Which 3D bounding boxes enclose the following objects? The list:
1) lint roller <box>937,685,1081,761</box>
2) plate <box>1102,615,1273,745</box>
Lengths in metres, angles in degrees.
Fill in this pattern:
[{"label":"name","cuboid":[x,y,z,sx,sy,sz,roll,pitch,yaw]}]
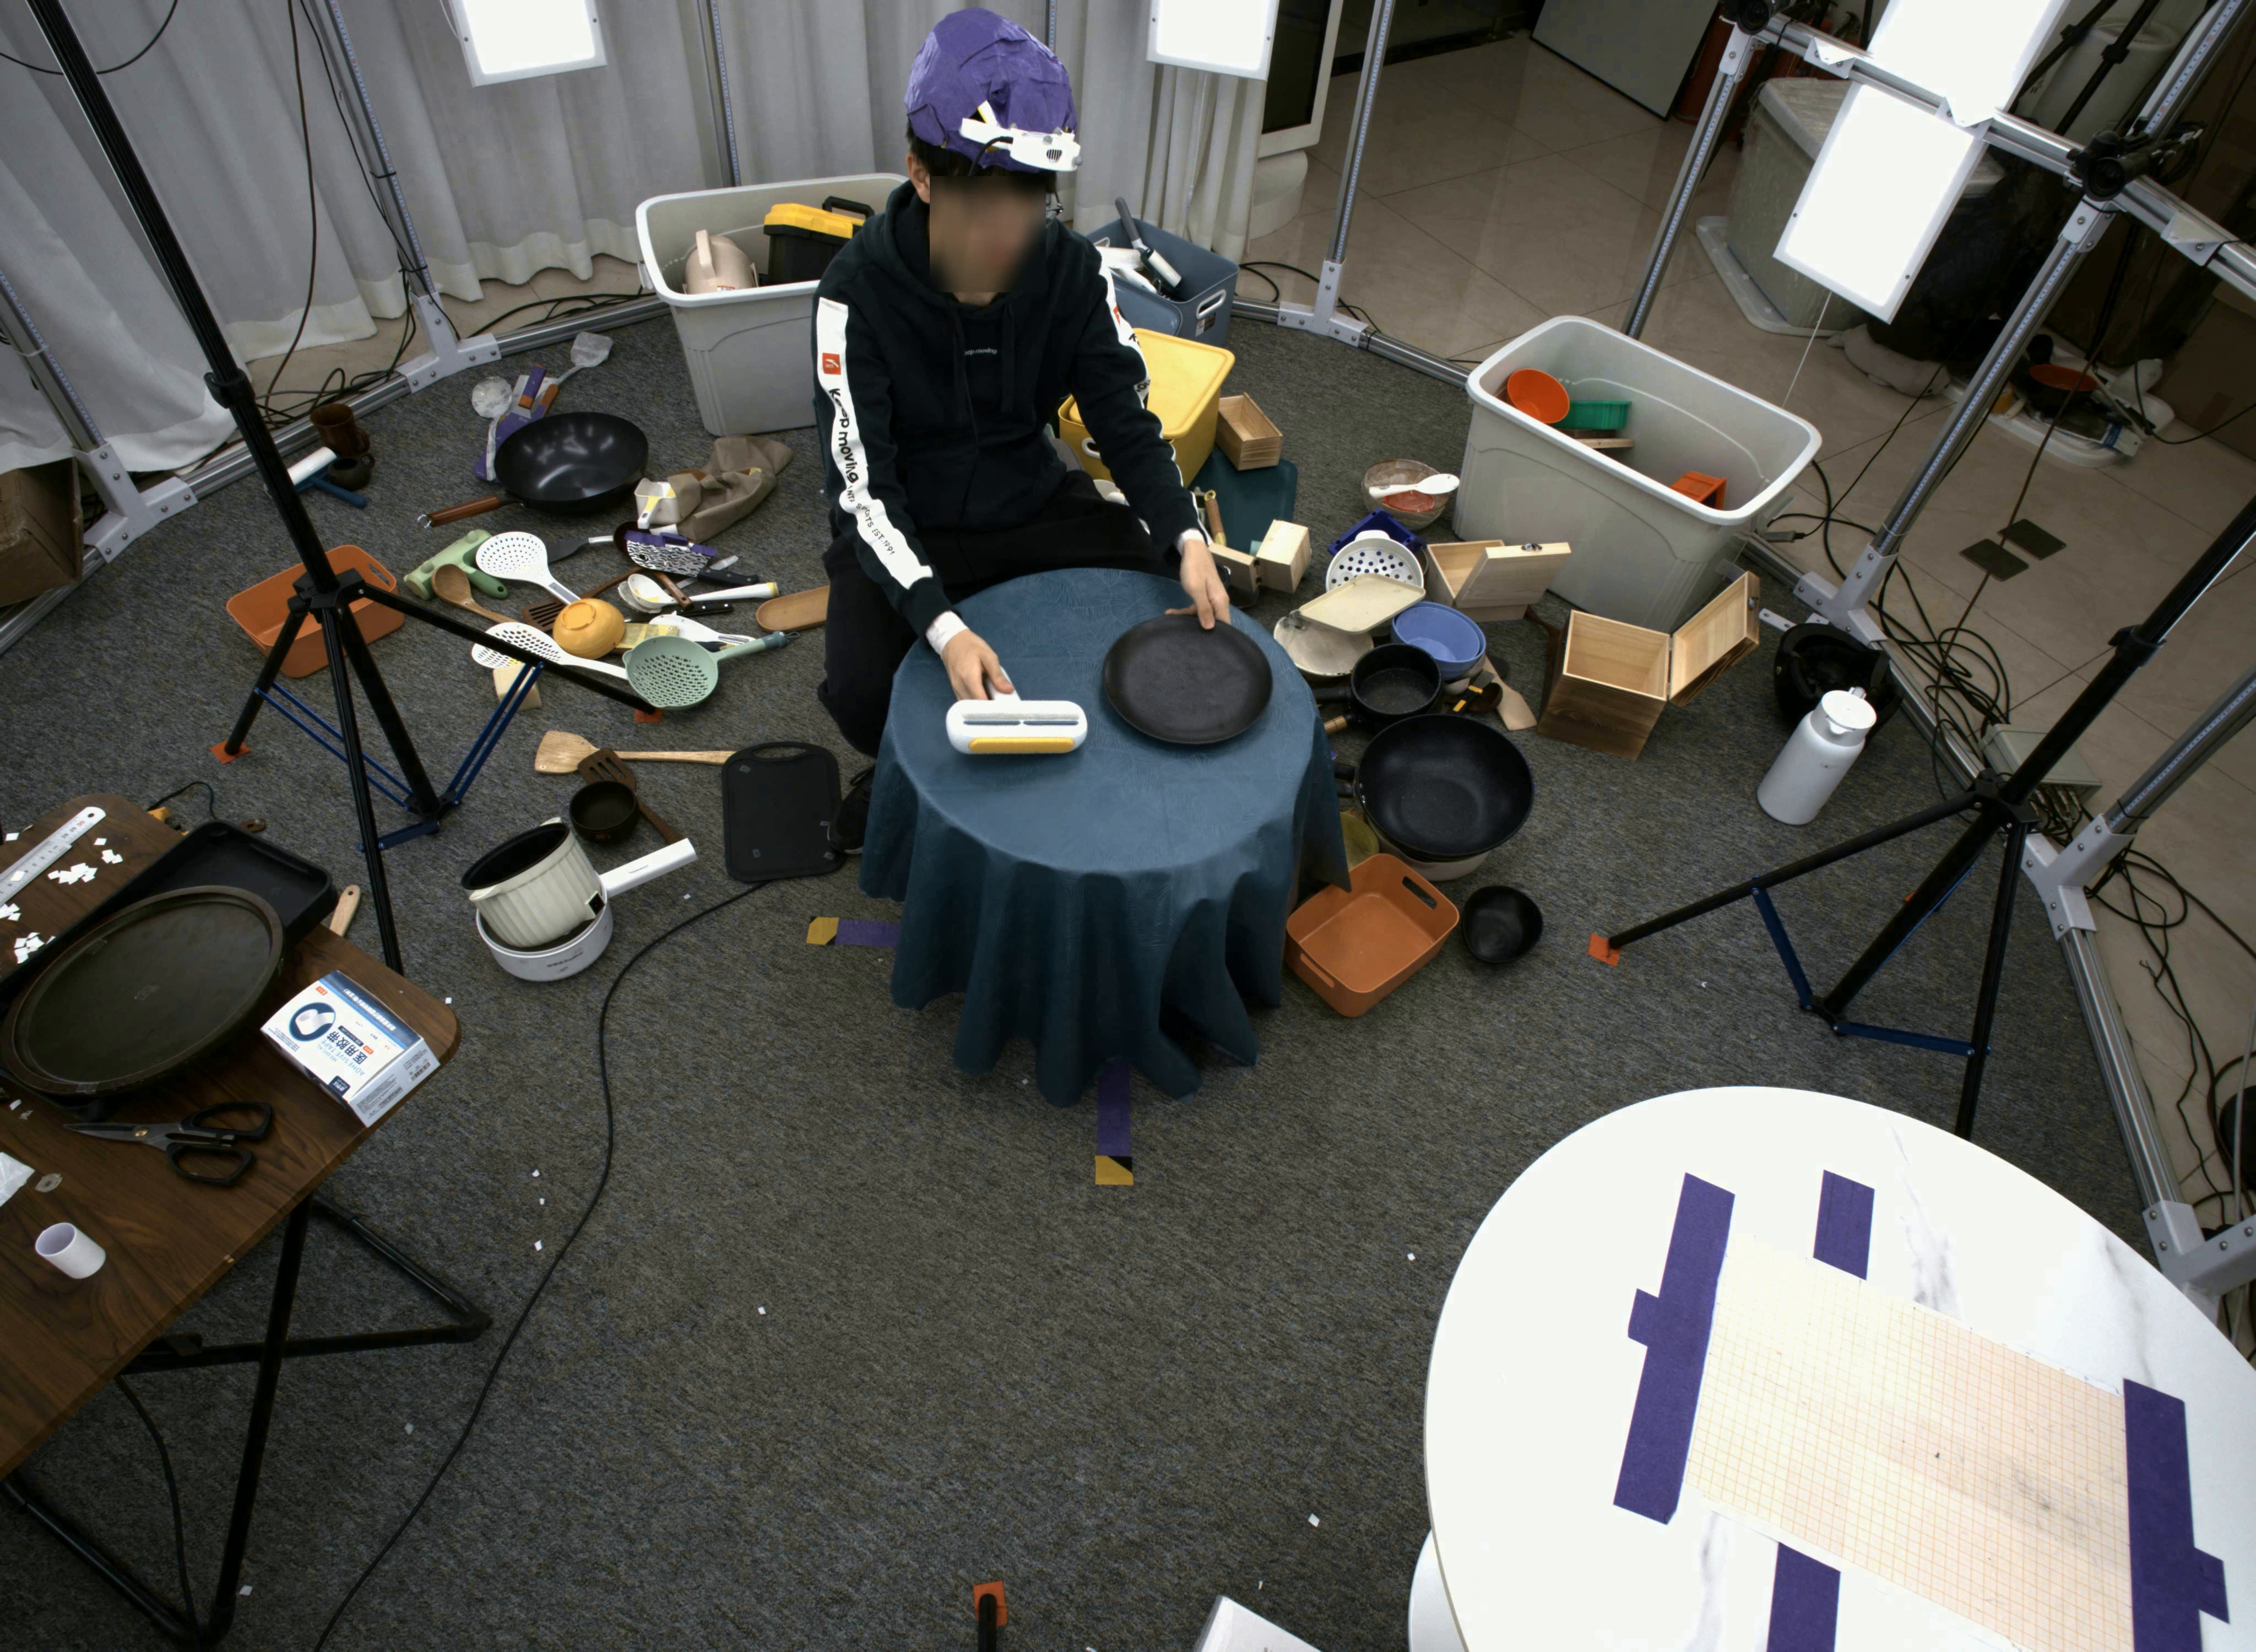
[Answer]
[{"label":"lint roller","cuboid":[-0.172,-0.156,1.771,0.192,0.072,0.197,0,36,-15]},{"label":"plate","cuboid":[0.085,-0.206,1.827,0.244,0.023,0.250,0,54,-1]}]
